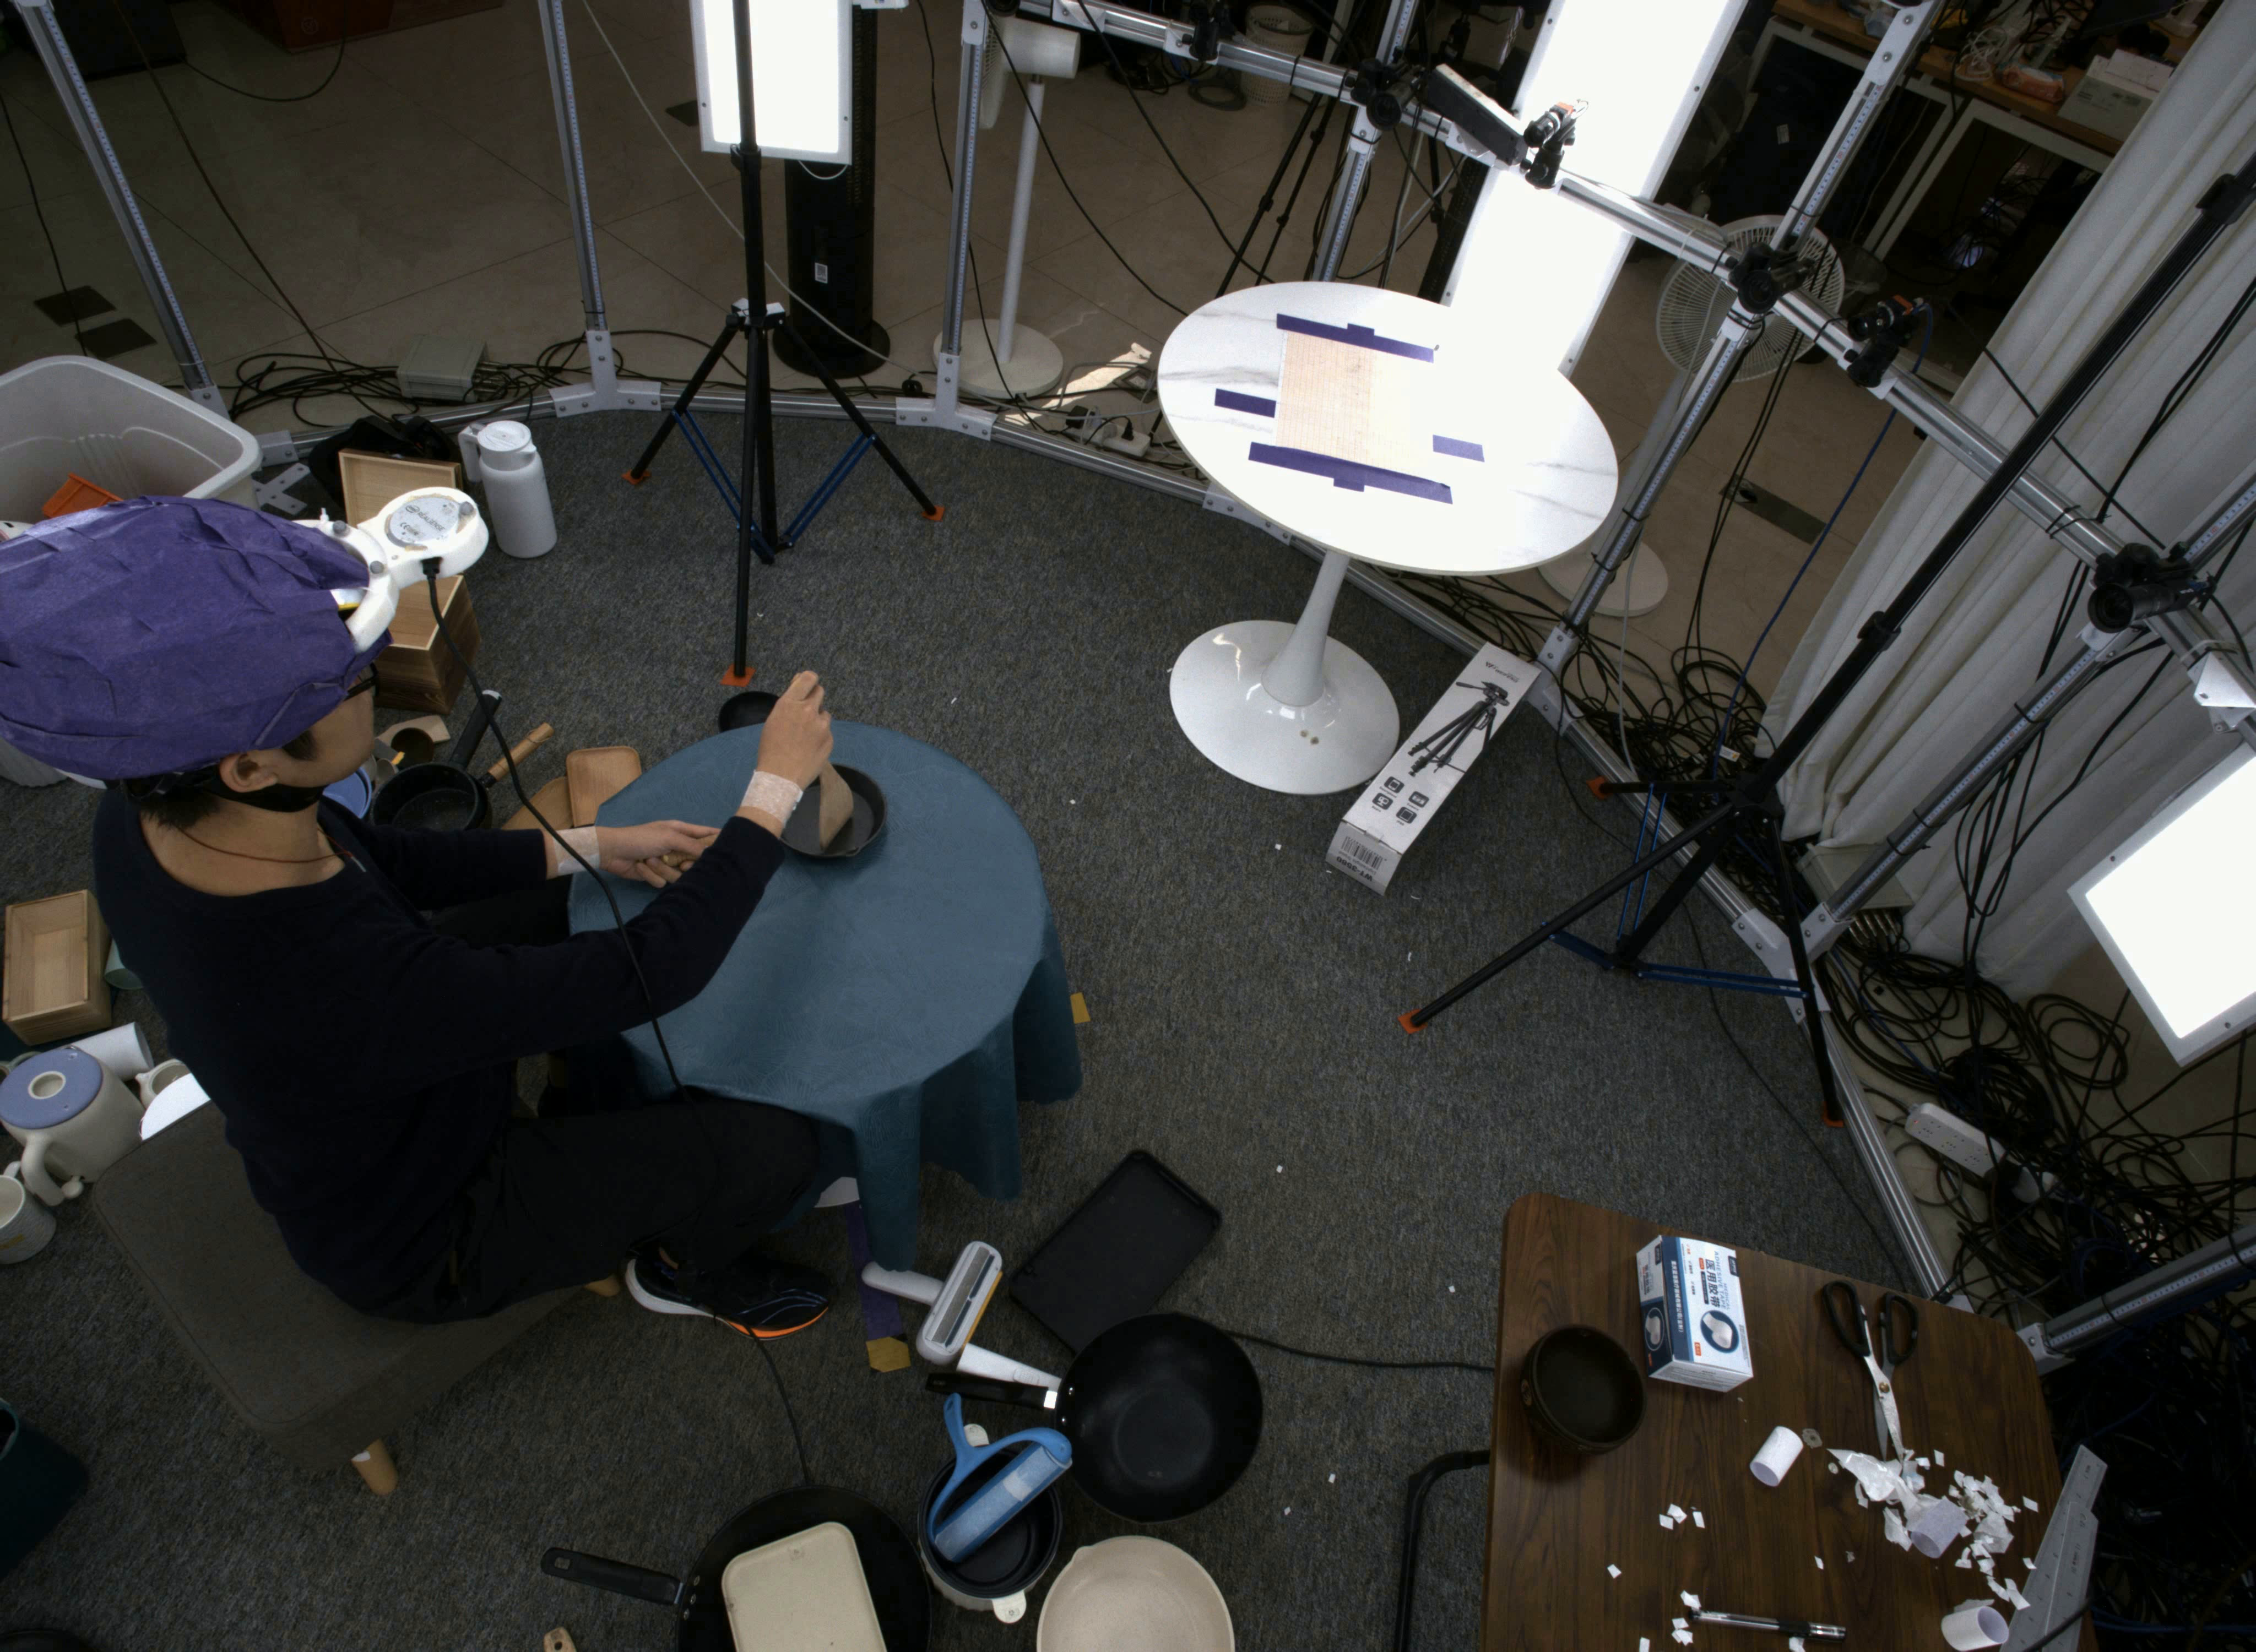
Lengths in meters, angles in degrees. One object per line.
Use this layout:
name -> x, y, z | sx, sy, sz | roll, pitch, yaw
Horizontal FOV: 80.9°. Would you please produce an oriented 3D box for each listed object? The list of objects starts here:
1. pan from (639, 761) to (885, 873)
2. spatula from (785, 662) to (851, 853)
pan -> -0.470, 0.005, 1.665 | 0.326, 0.050, 0.164 | -19, 60, -28
spatula -> -0.381, -0.081, 1.579 | 0.016, 0.337, 0.079 | 19, 57, 13
